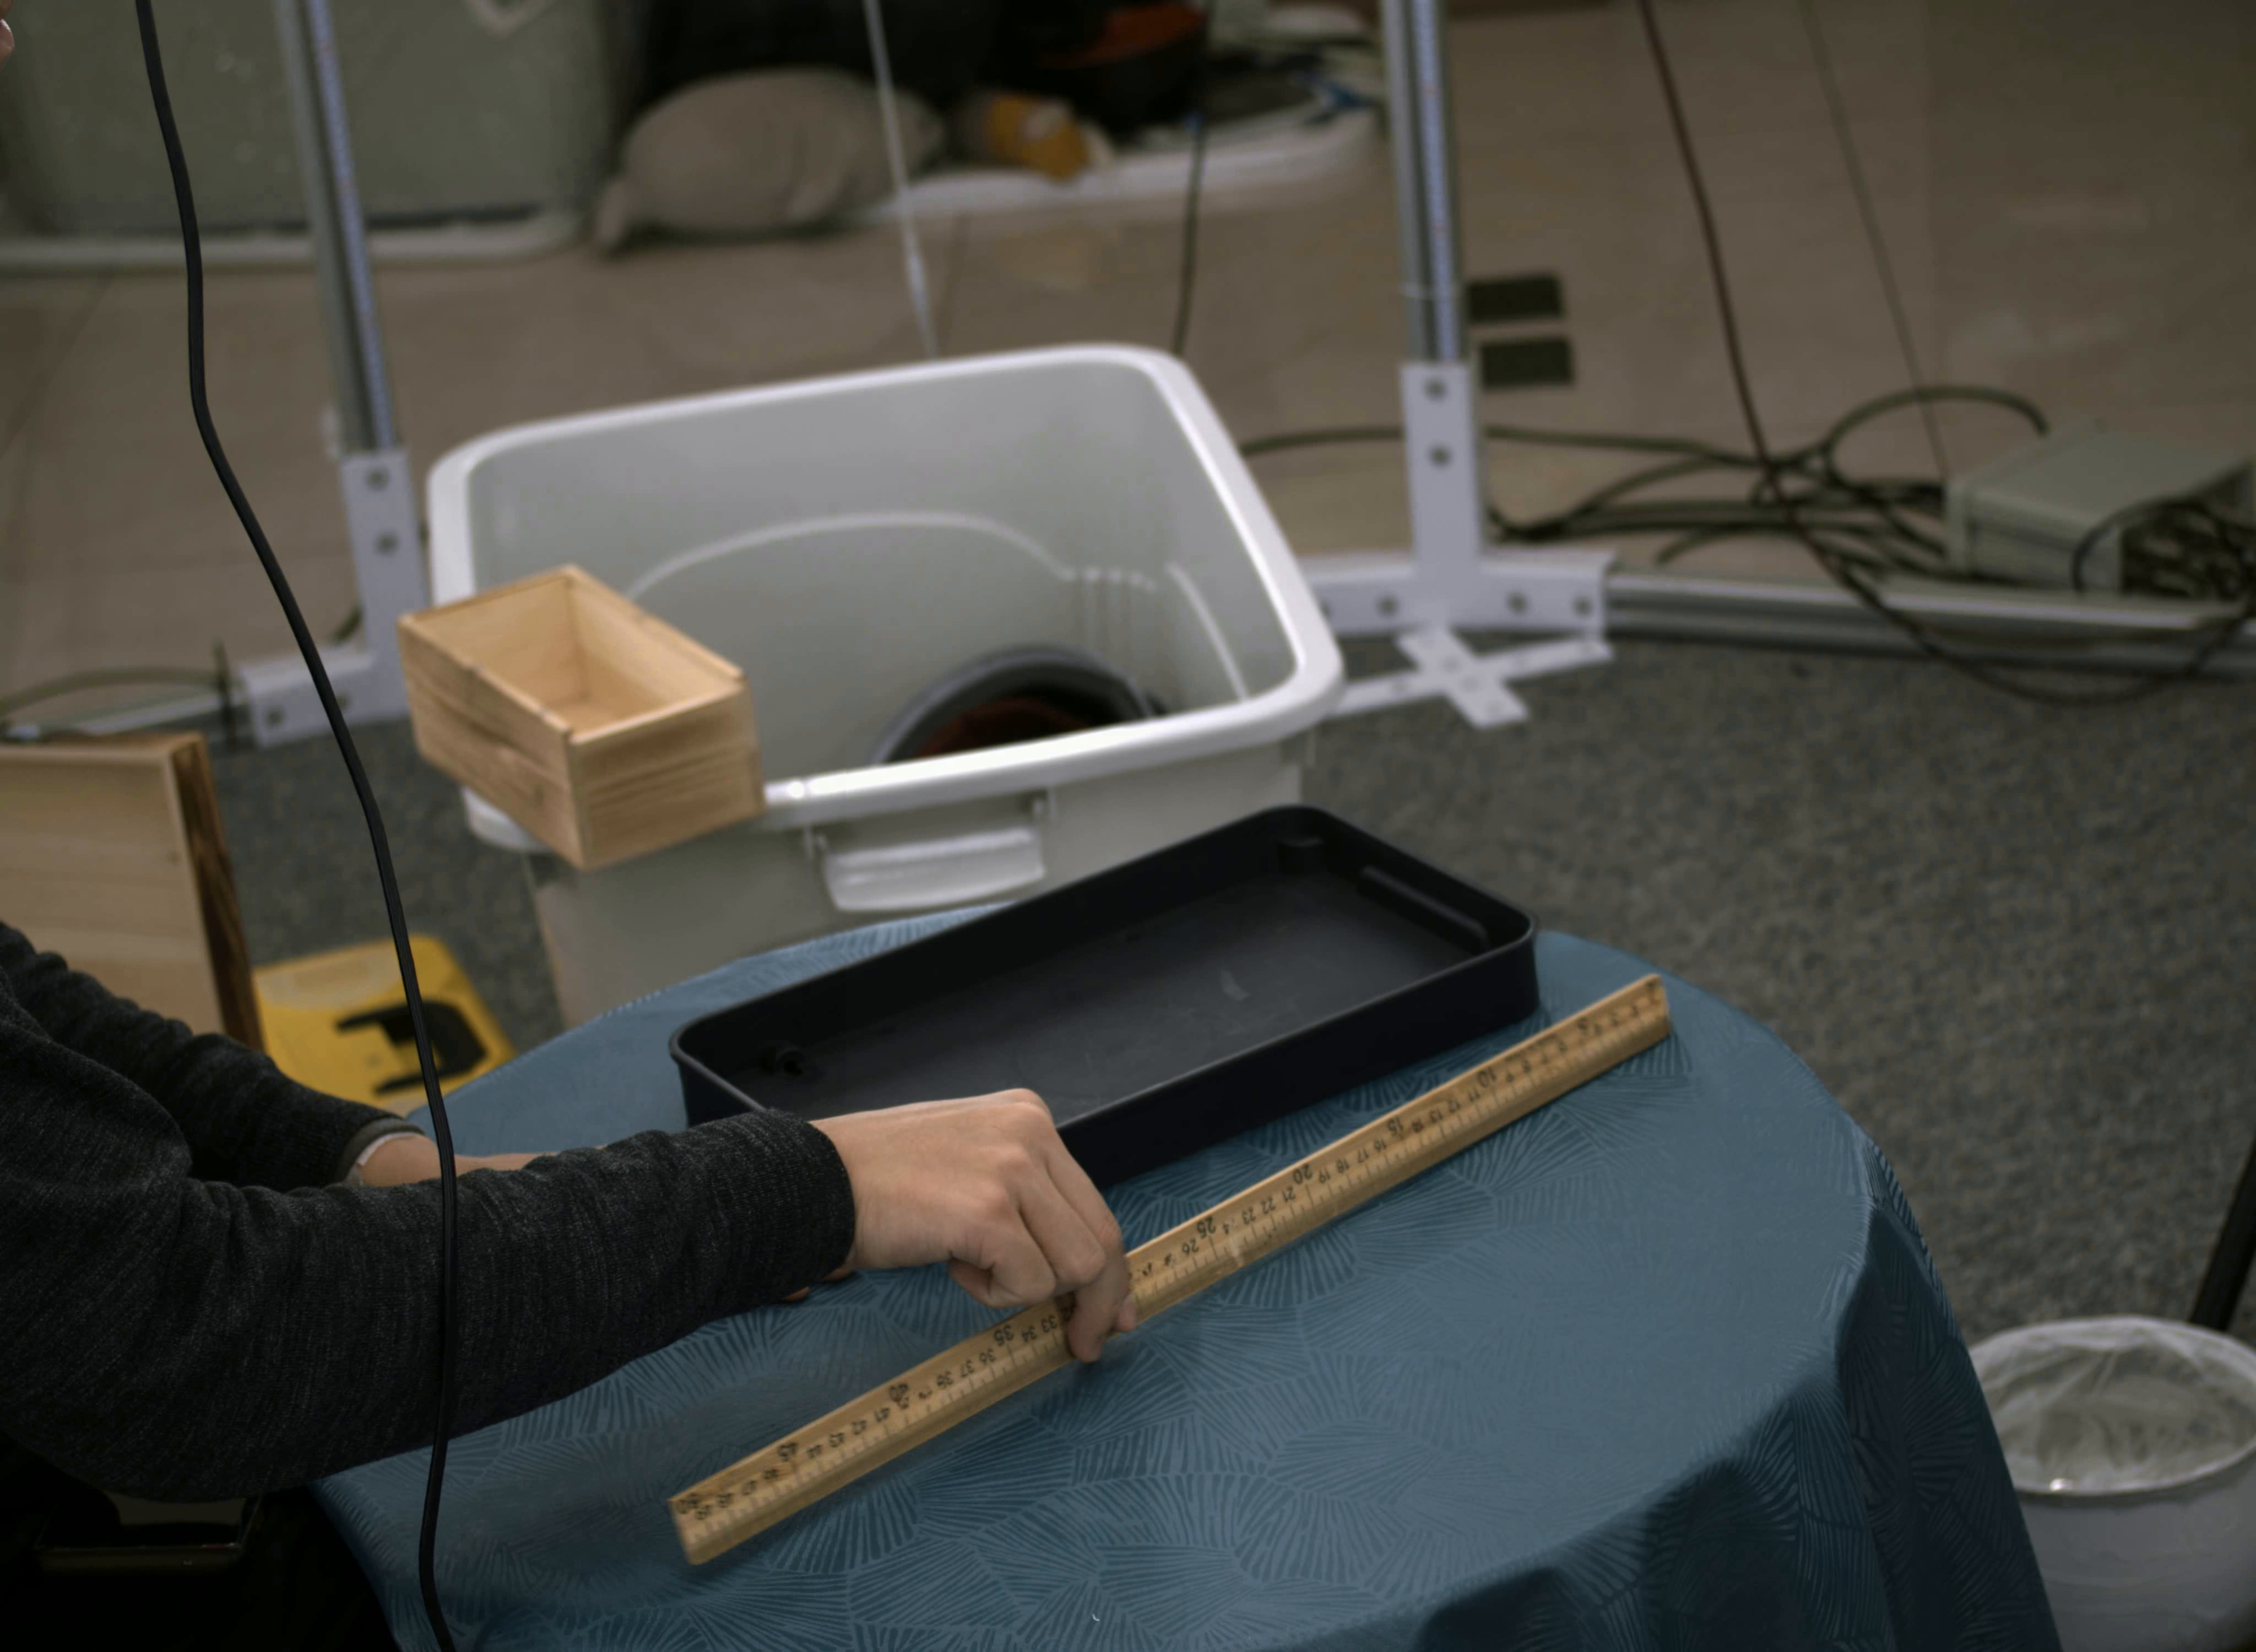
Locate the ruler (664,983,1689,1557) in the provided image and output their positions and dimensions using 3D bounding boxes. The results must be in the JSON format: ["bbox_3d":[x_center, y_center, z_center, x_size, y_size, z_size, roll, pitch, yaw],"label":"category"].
[{"bbox_3d":[0.030,0.154,2.072,0.496,0.027,0.006,-24,13,-35],"label":"ruler"}]

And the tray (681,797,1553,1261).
[{"bbox_3d":[-0.002,0.075,2.243,0.316,0.037,0.182,-22,28,-28],"label":"tray"}]
